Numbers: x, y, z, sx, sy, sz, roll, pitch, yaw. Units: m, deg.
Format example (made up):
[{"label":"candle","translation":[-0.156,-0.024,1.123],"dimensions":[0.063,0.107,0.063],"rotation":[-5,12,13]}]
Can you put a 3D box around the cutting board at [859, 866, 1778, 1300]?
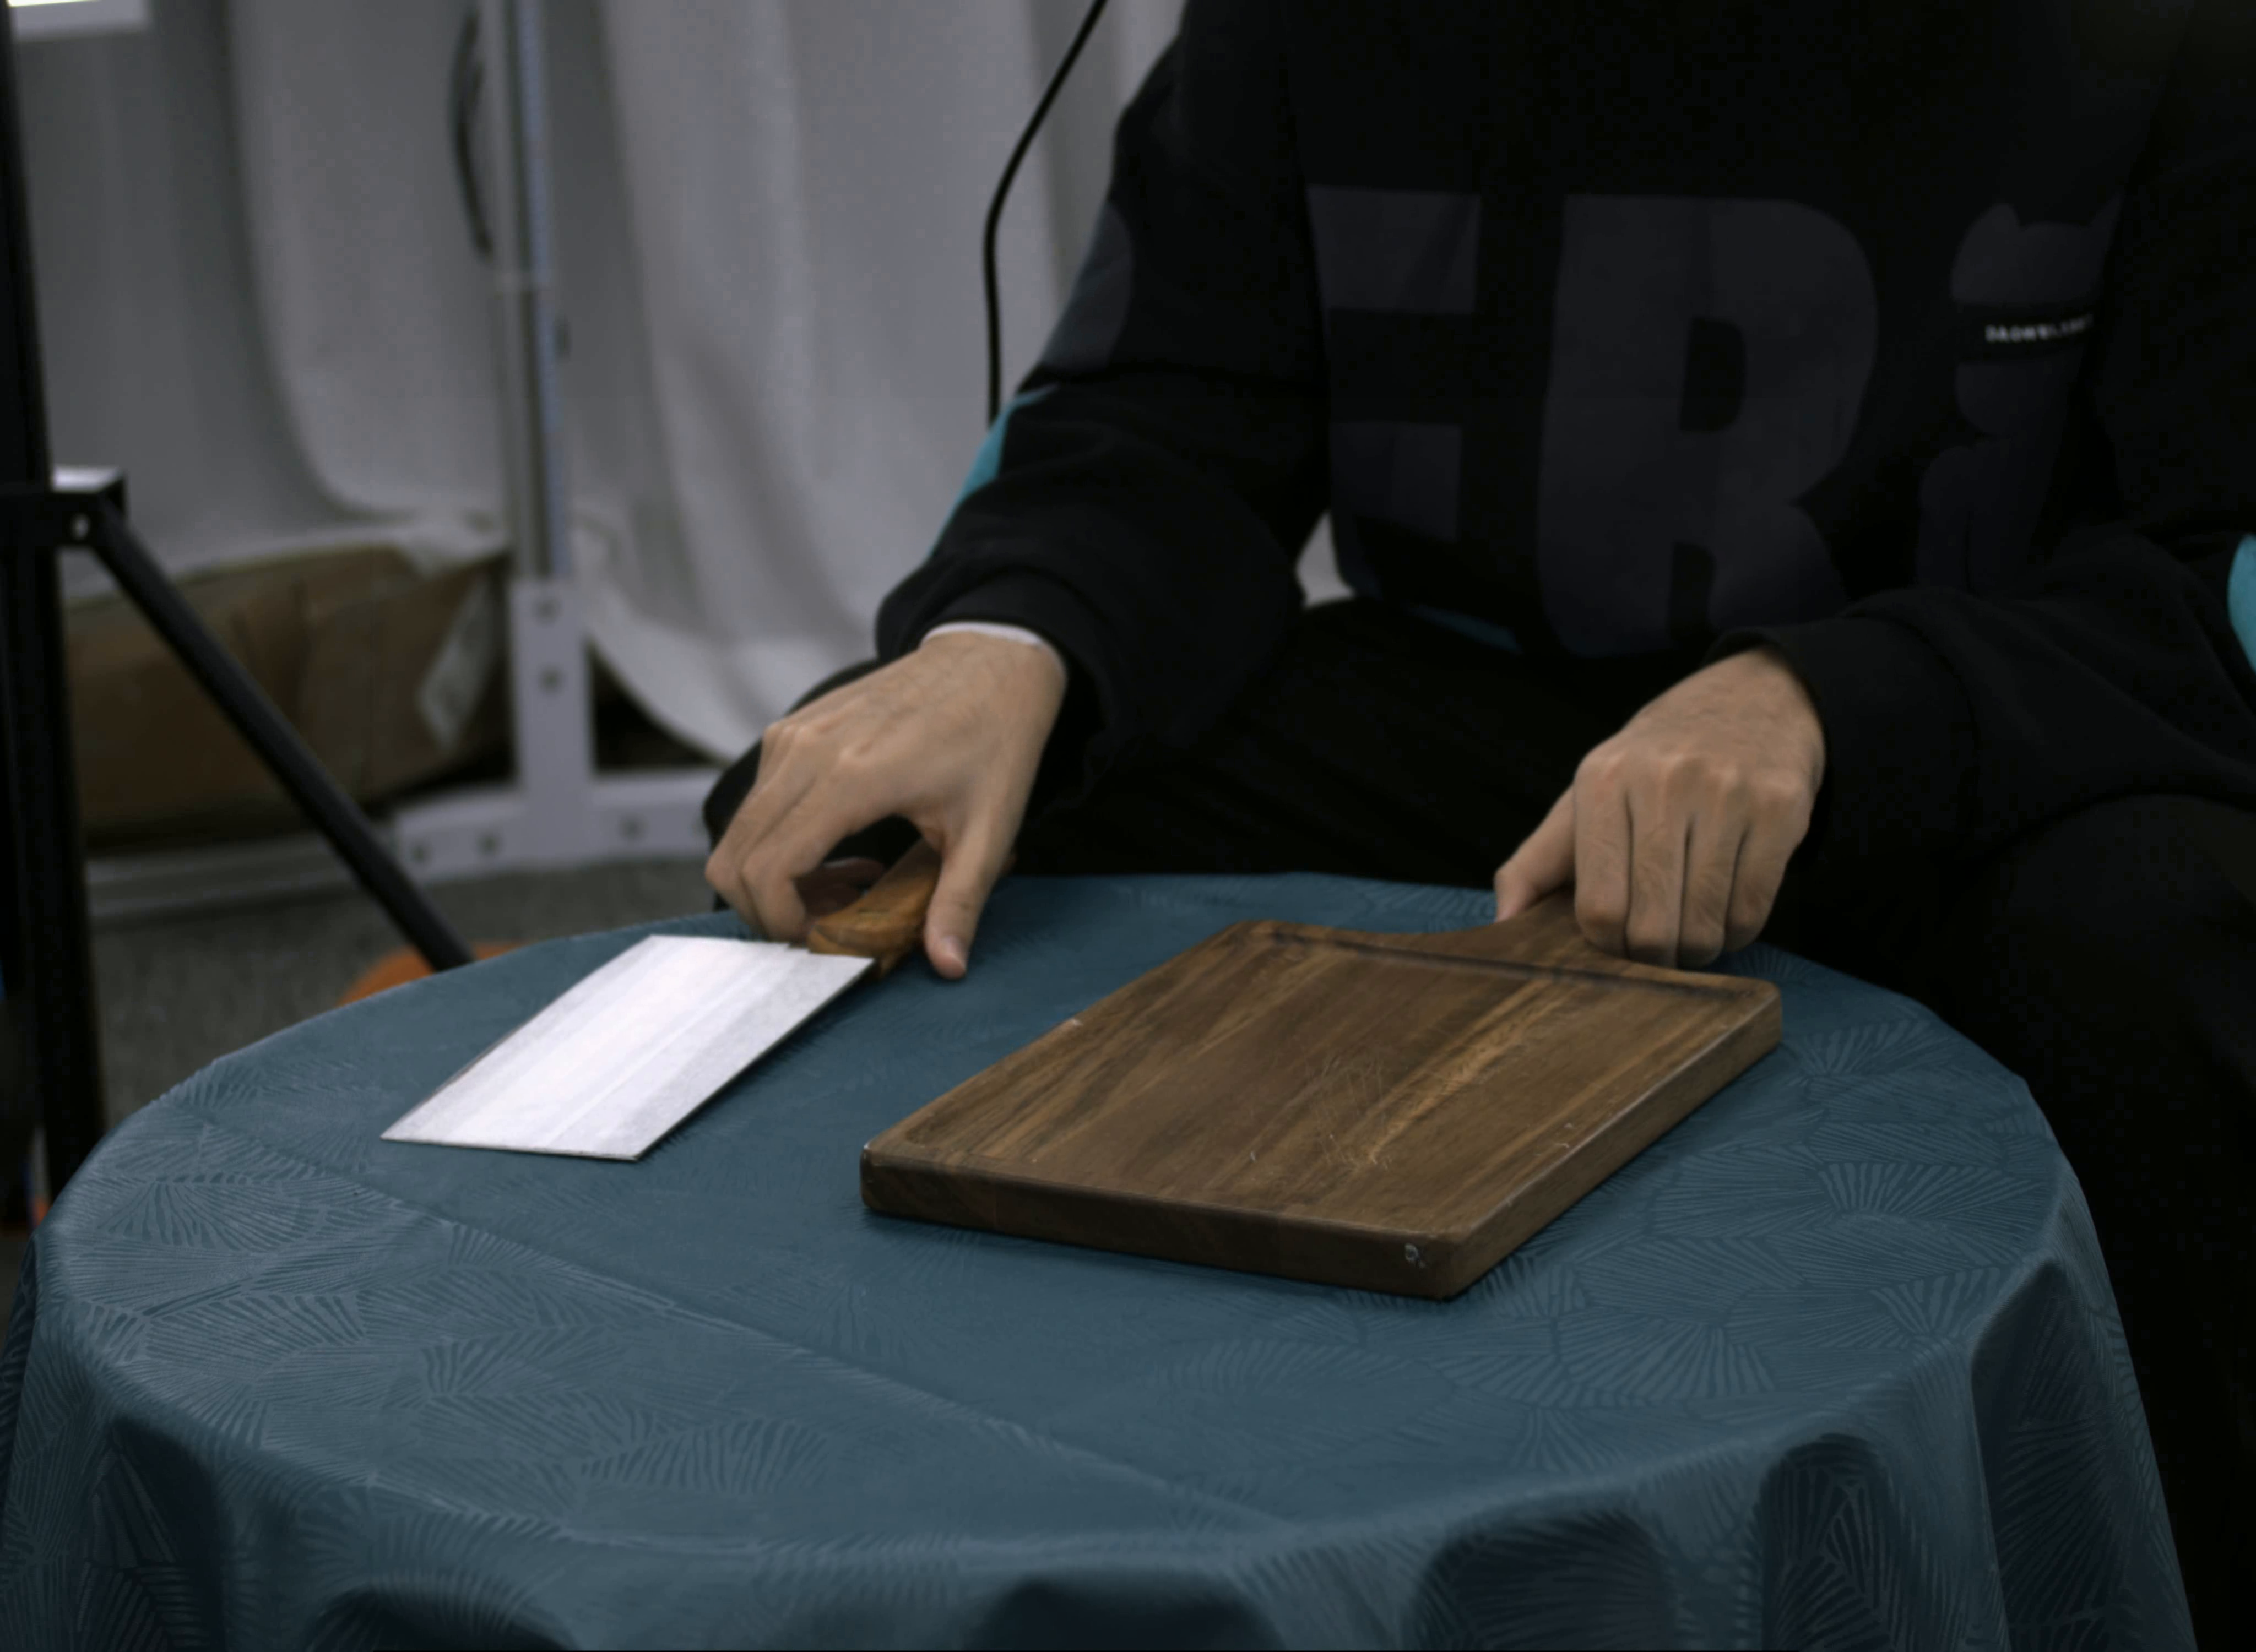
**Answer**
[{"label":"cutting board","translation":[0.086,0.069,1.643],"dimensions":[0.204,0.023,0.346],"rotation":[6,18,28]}]

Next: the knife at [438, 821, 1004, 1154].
[{"label":"knife","translation":[-0.132,0.052,1.752],"dimensions":[0.094,0.021,0.302],"rotation":[2,19,22]}]
